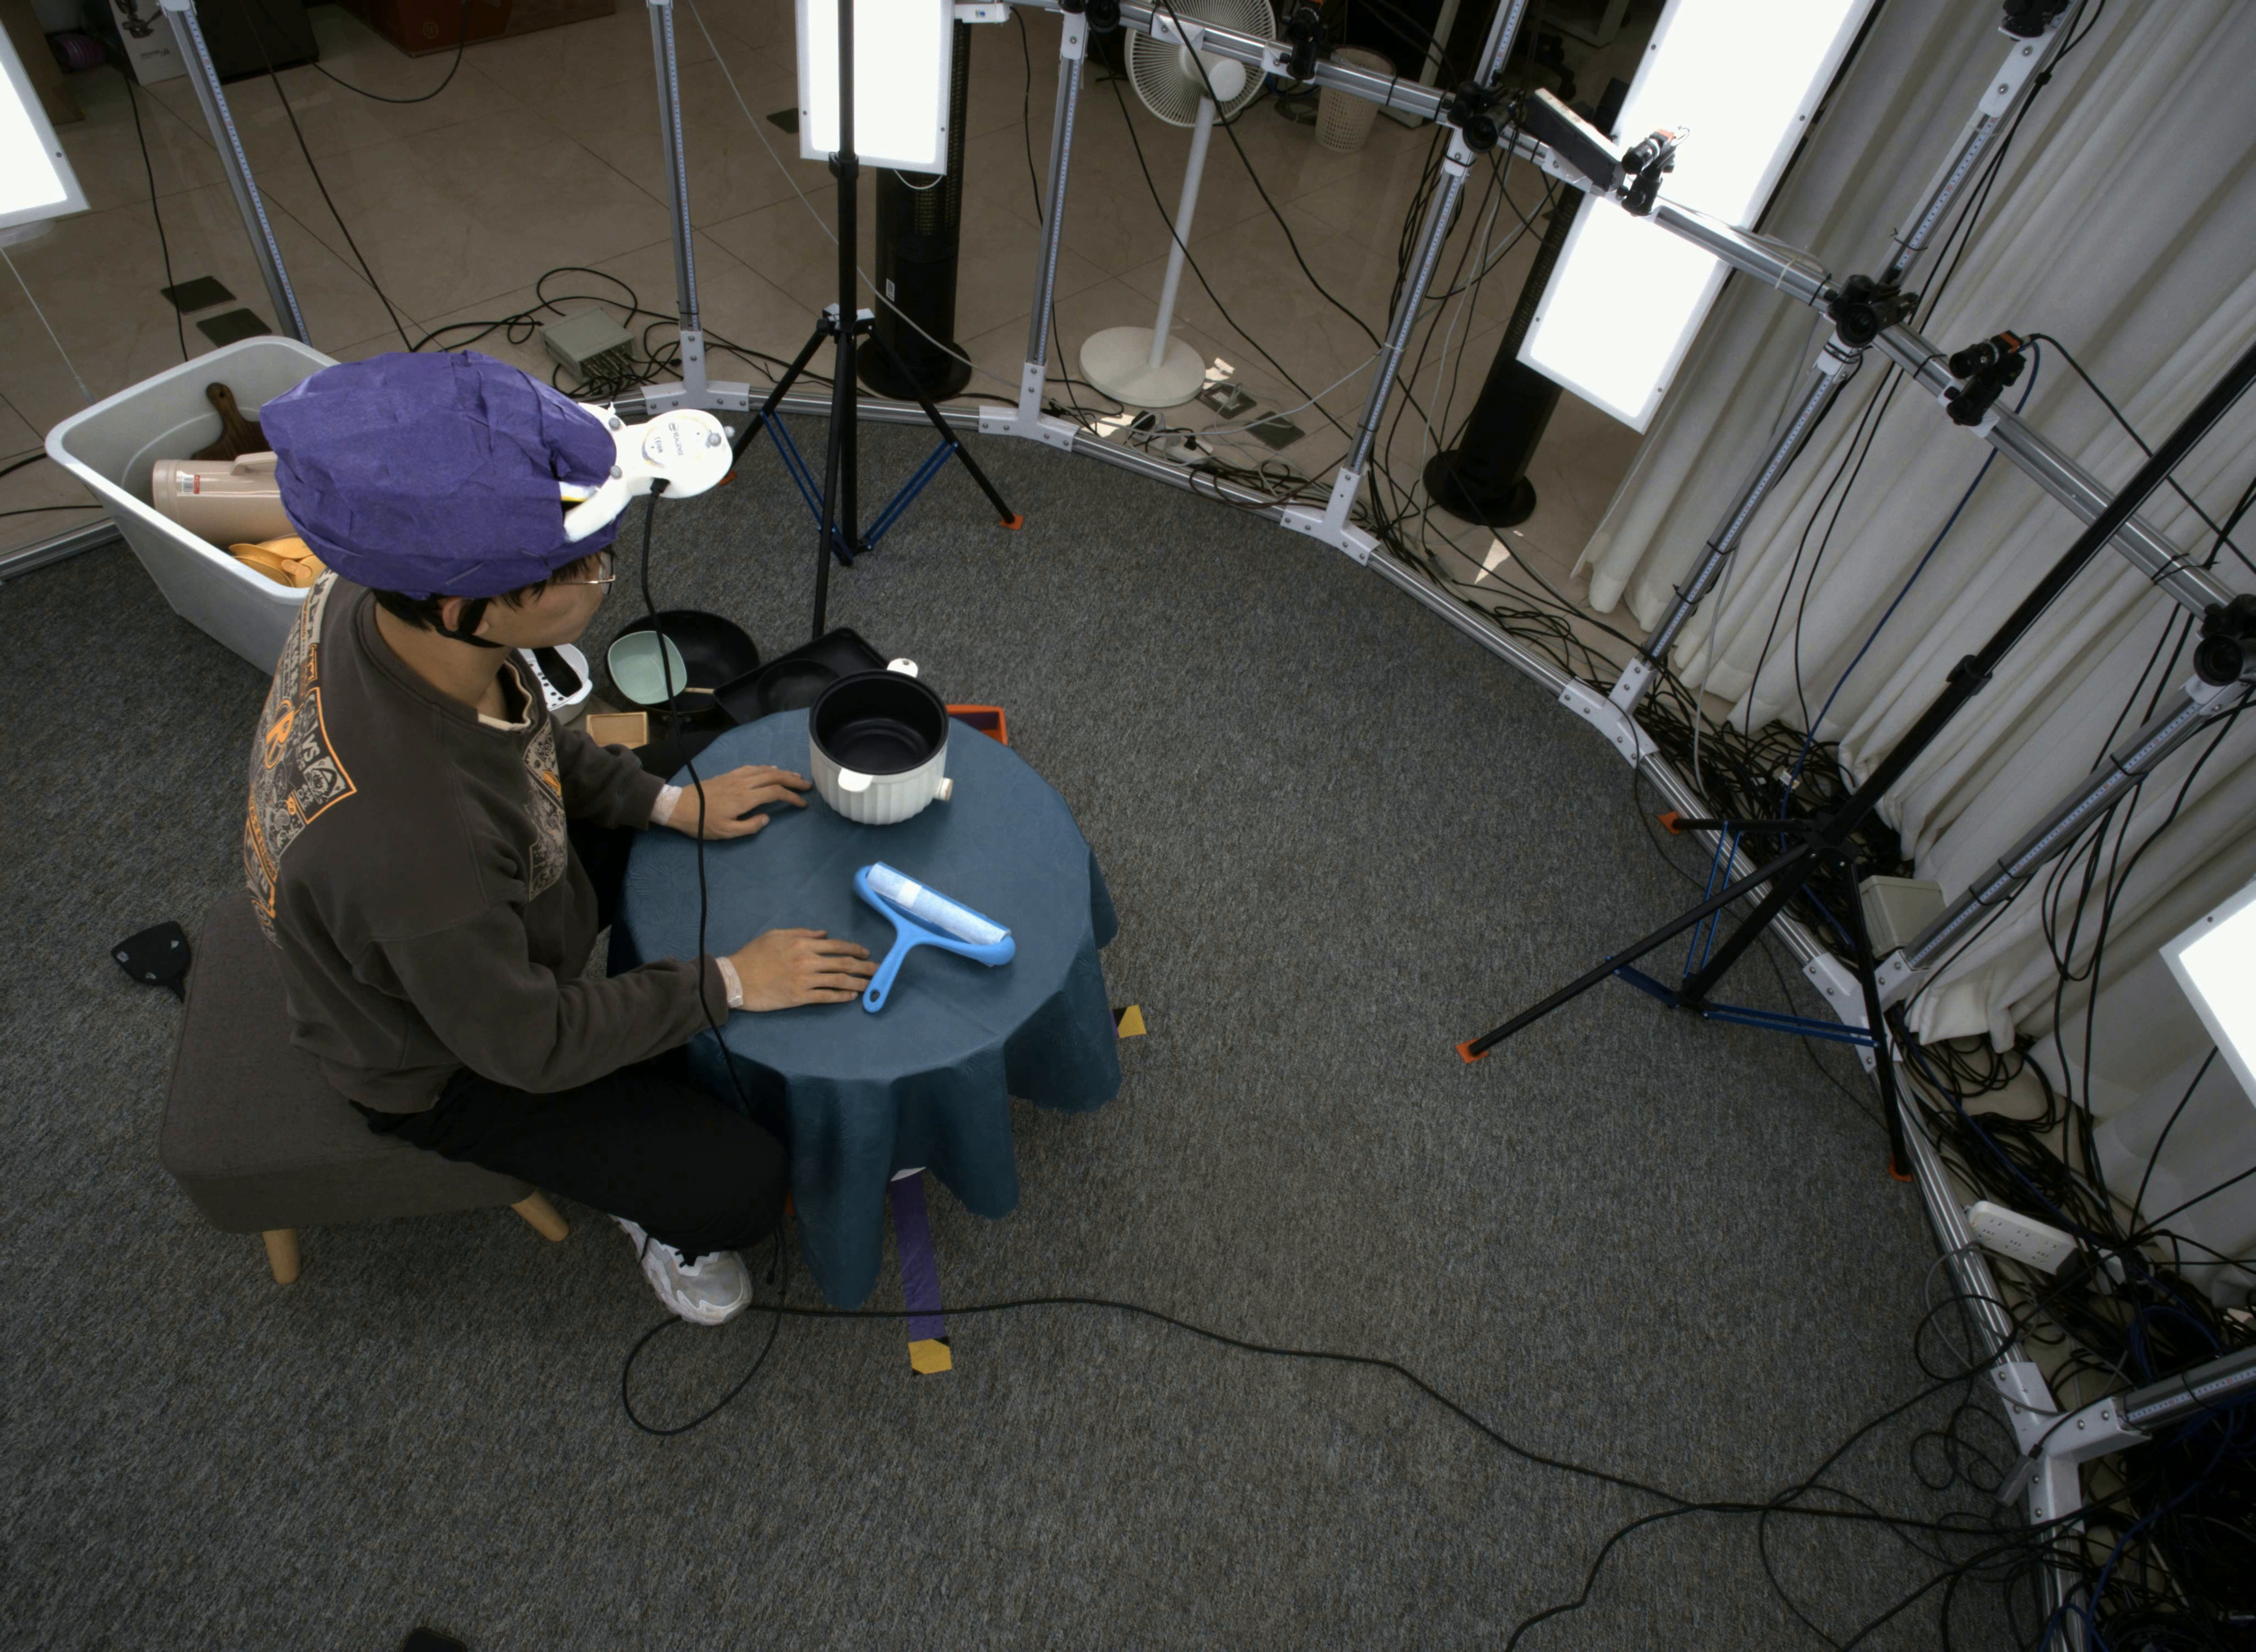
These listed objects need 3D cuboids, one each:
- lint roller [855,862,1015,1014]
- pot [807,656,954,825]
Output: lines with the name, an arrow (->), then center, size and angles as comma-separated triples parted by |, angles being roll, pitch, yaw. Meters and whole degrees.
lint roller -> -0.270, 0.150, 1.629 | 0.226, 0.069, 0.179 | 26, 51, 5
pot -> -0.329, -0.098, 1.745 | 0.188, 0.146, 0.237 | 12, 53, 1
